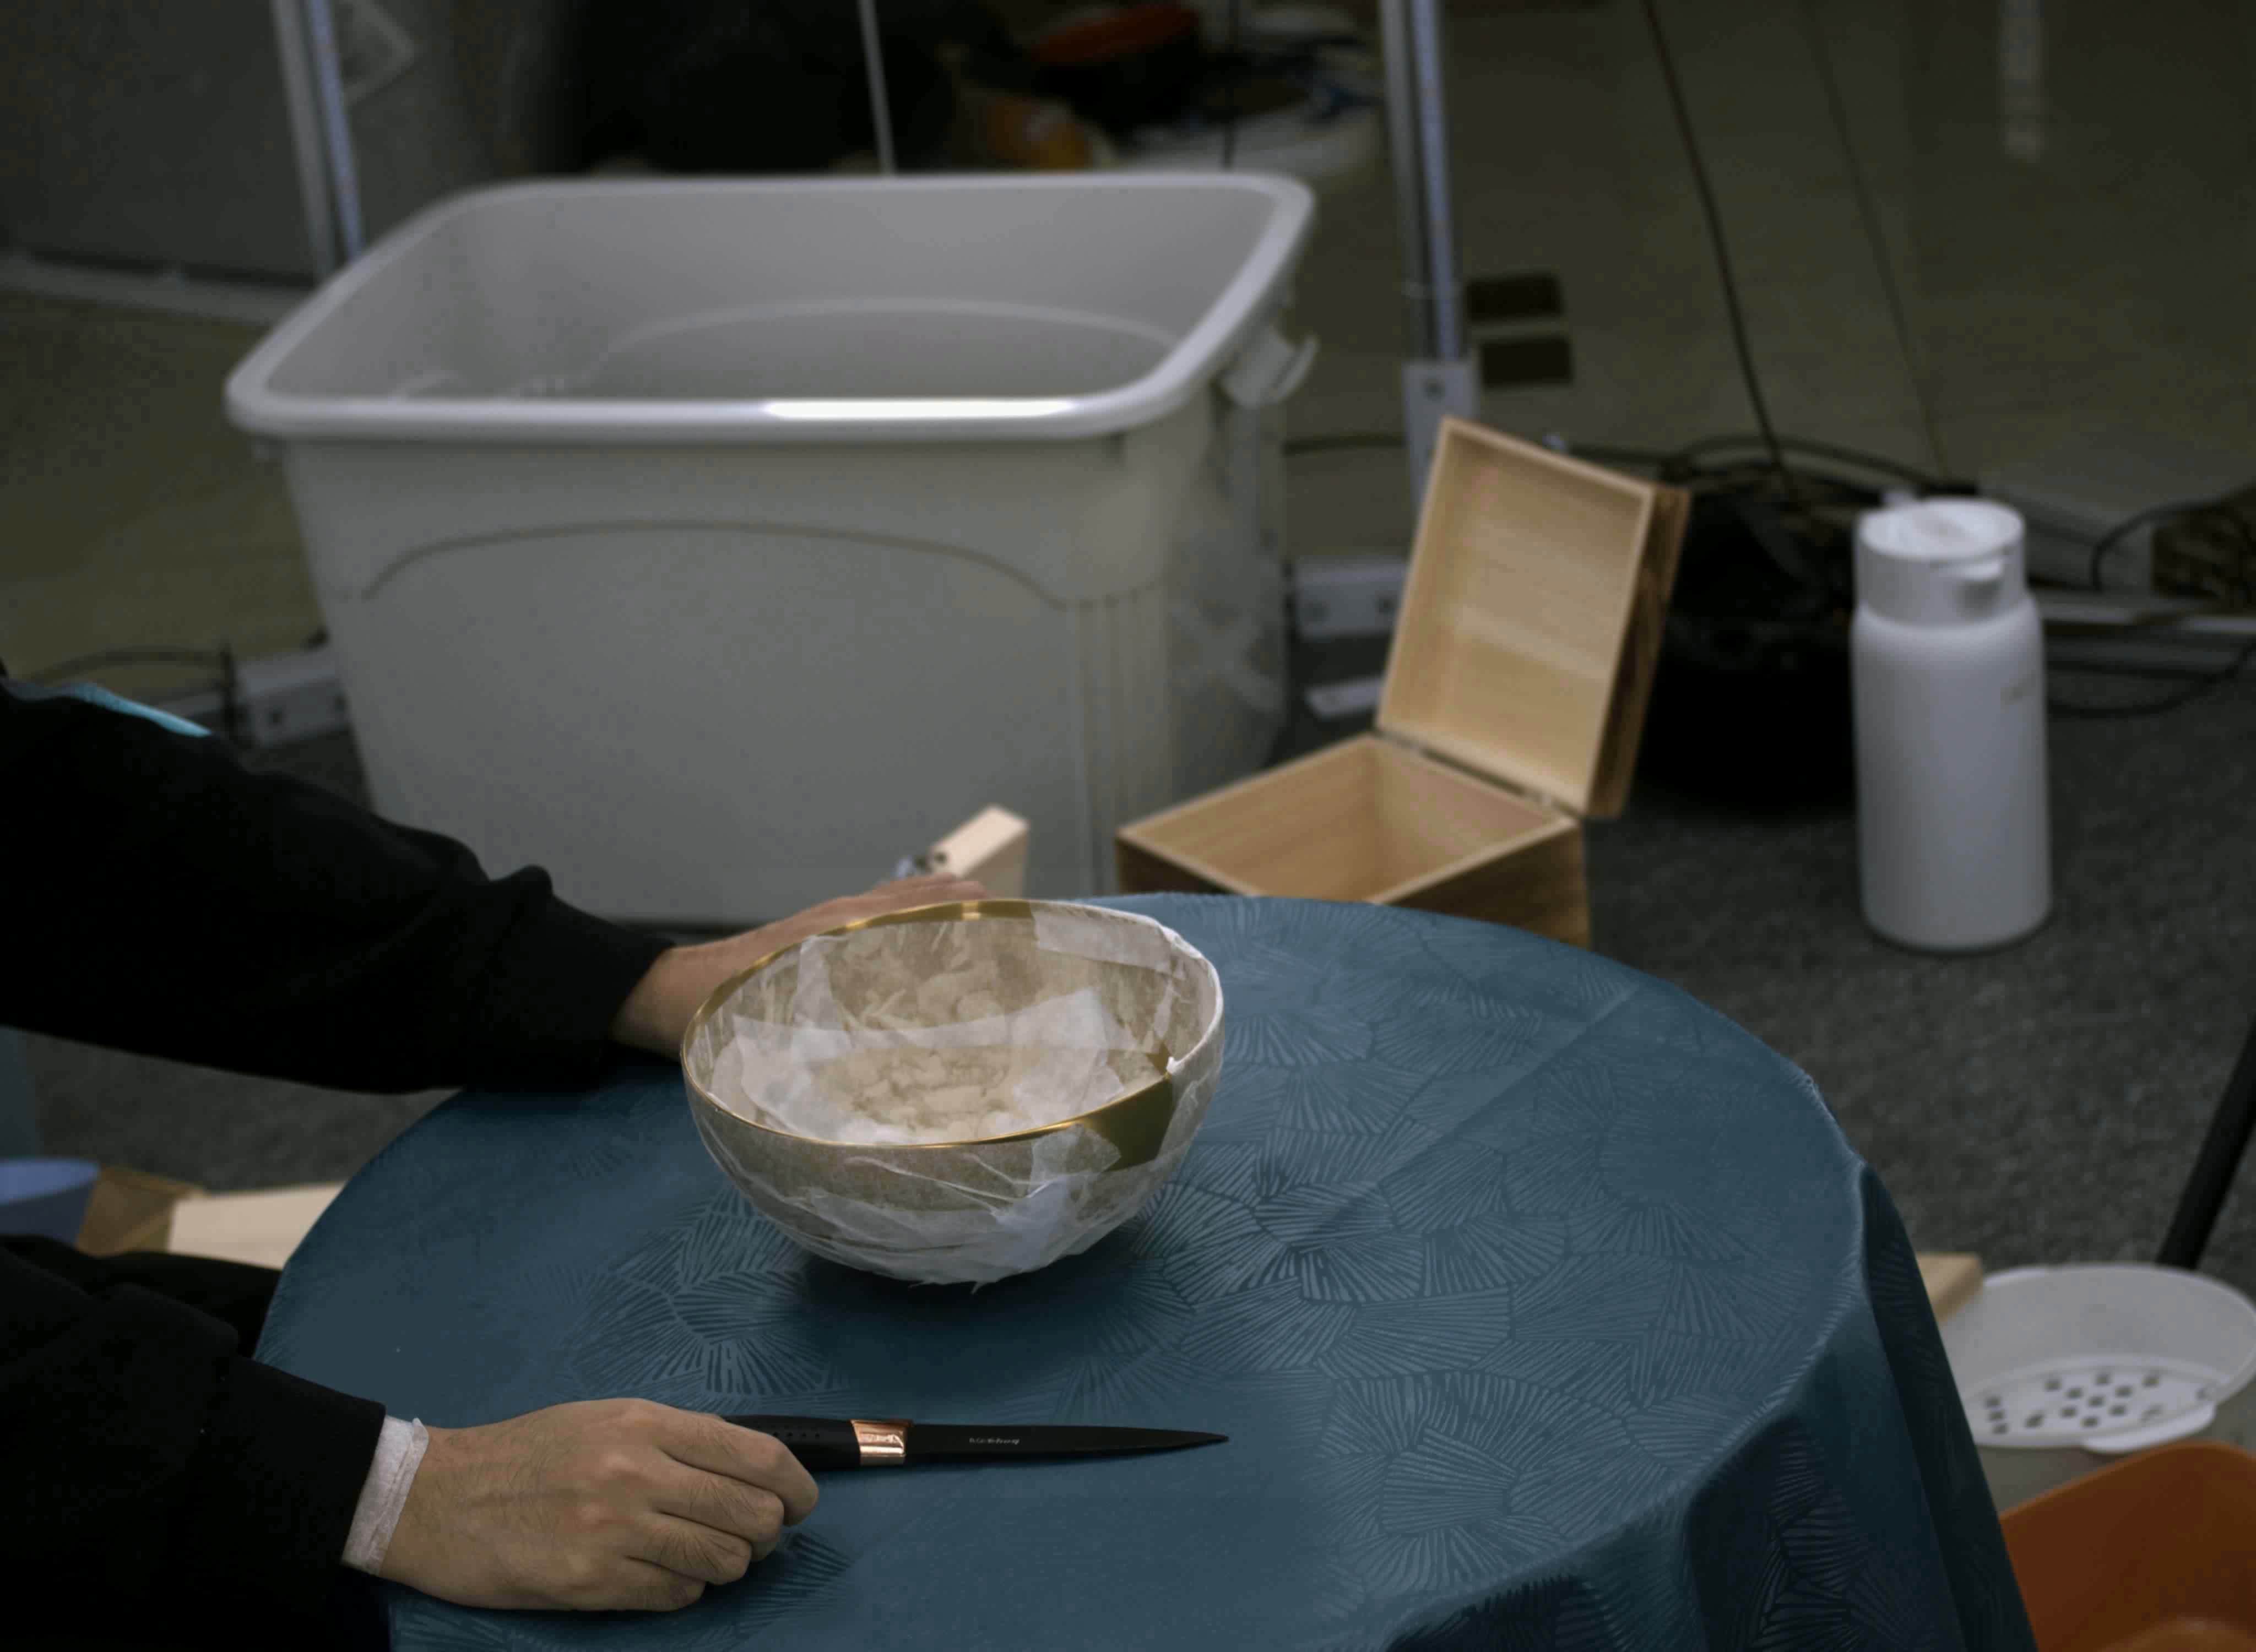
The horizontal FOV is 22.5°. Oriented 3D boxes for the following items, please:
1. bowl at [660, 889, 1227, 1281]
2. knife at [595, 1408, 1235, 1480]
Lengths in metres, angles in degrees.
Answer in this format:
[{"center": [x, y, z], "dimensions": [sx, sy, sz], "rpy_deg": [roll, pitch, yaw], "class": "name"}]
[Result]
[{"center": [-0.065, 0.109, 2.112], "dimensions": [0.214, 0.096, 0.211], "rpy_deg": [-5, 27, 3], "class": "bowl"}, {"center": [-0.075, 0.215, 1.991], "dimensions": [0.225, 0.017, 0.026], "rpy_deg": [-4, 19, 4], "class": "knife"}]
